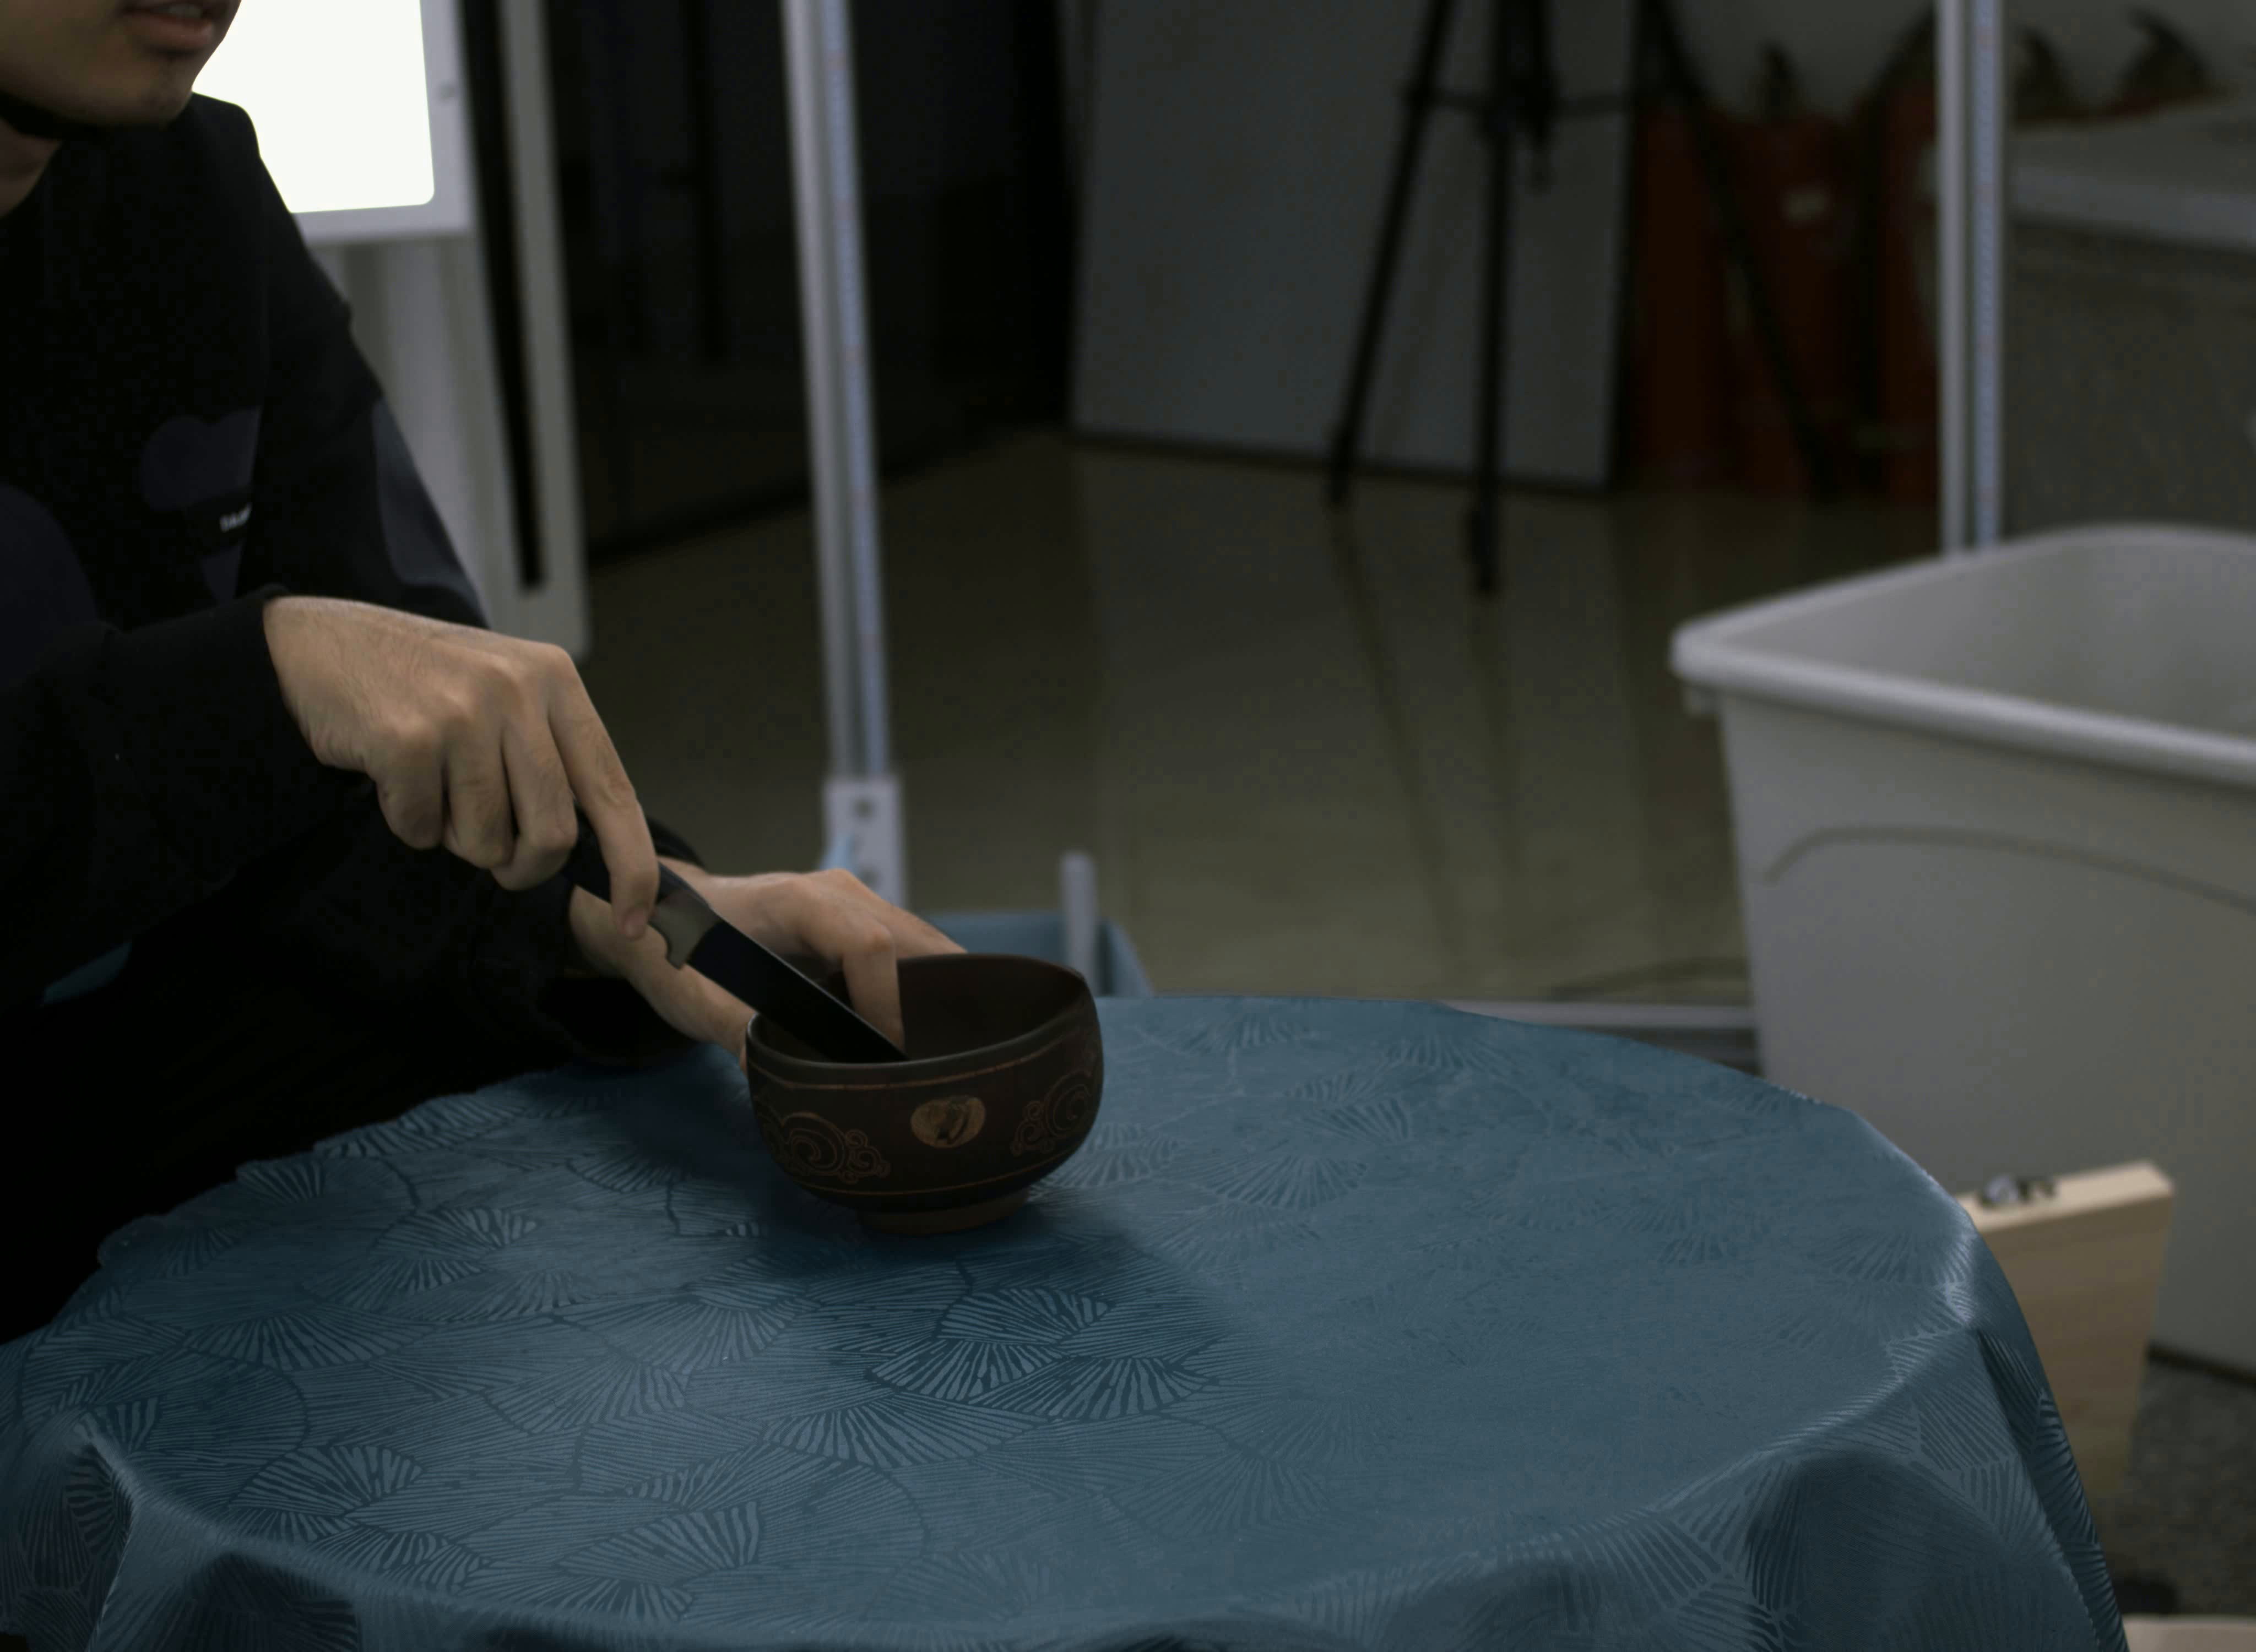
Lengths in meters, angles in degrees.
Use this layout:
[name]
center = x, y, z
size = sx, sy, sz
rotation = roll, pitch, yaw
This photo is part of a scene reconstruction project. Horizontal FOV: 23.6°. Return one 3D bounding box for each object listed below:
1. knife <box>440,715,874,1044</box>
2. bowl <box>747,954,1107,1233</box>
[knife]
center = -0.133, 0.039, 1.752
size = 0.224, 0.026, 0.017
rotation = 38, 15, -4
[bowl]
center = -0.063, 0.090, 1.753
size = 0.116, 0.070, 0.118
rotation = -6, 13, 0
